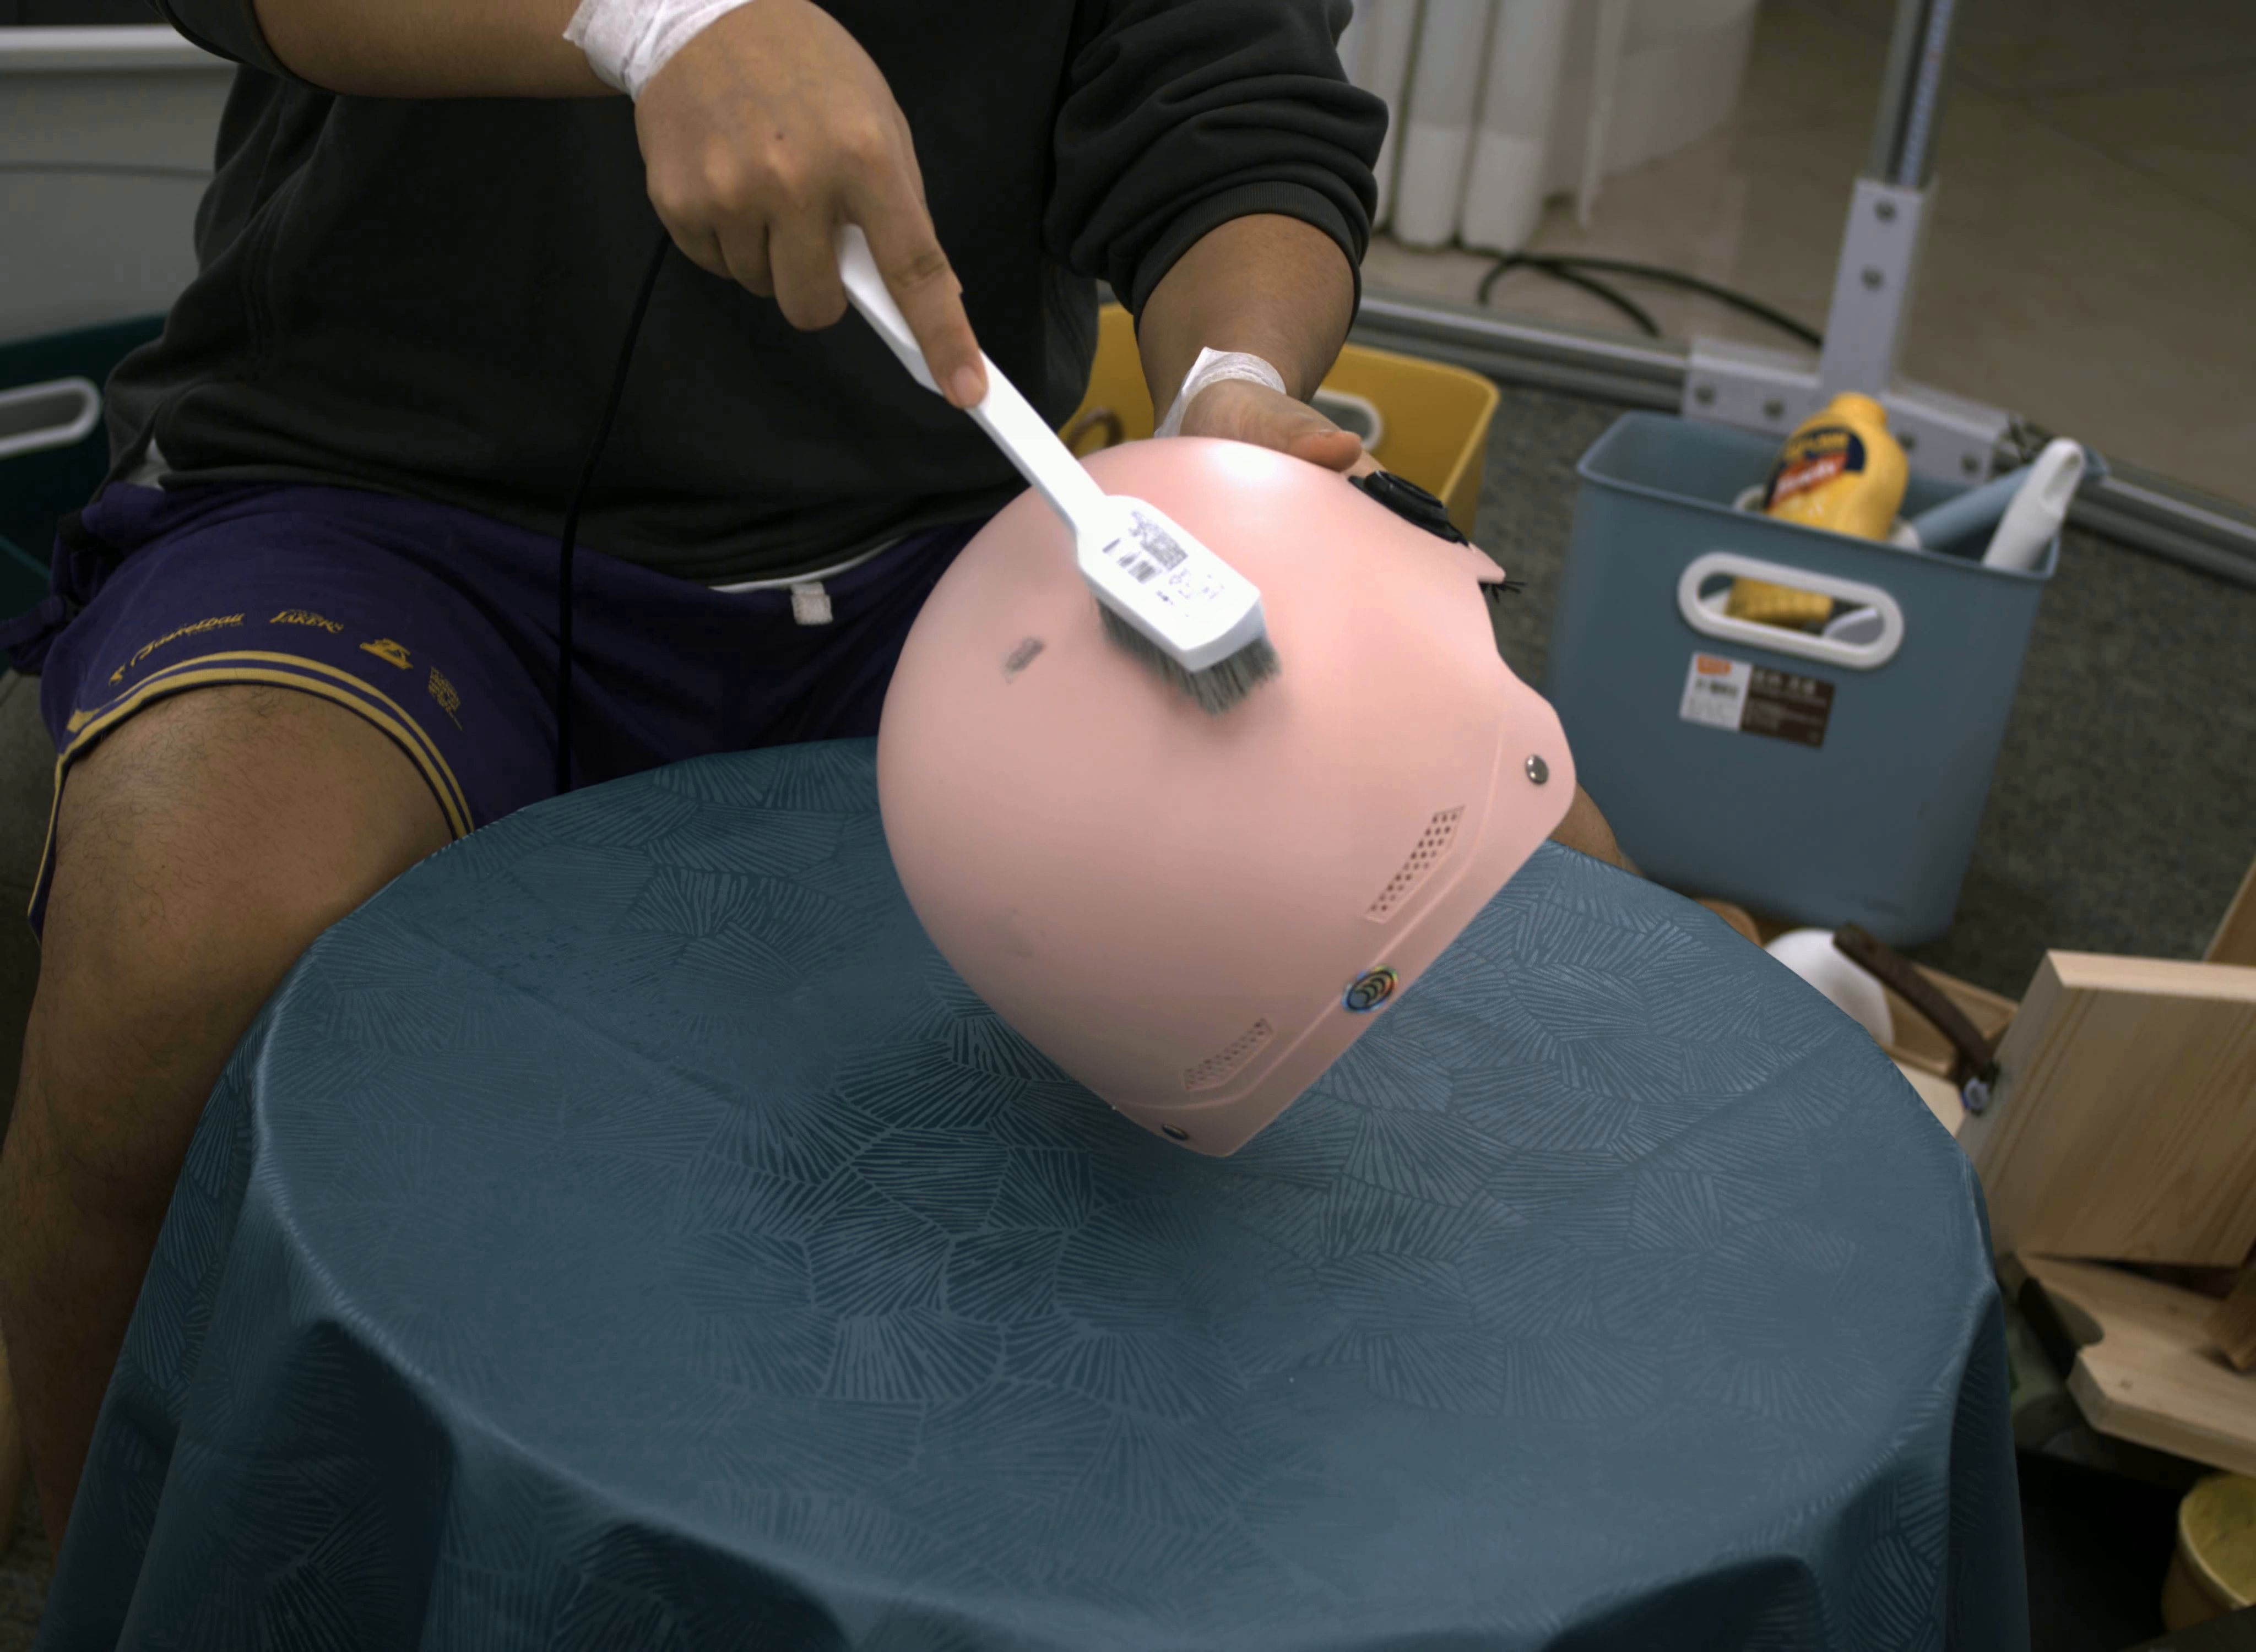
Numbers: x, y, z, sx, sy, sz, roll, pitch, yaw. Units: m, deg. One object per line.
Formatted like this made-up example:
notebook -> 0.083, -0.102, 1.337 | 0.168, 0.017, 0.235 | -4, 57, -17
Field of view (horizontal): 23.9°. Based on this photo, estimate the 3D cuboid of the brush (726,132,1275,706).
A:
brush -> -0.044, -0.130, 1.694 | 0.034, 0.050, 0.245 | -39, 71, -18

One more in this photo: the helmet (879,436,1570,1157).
helmet -> 0.006, -0.035, 1.783 | 0.157, 0.234, 0.268 | 33, 17, -35
